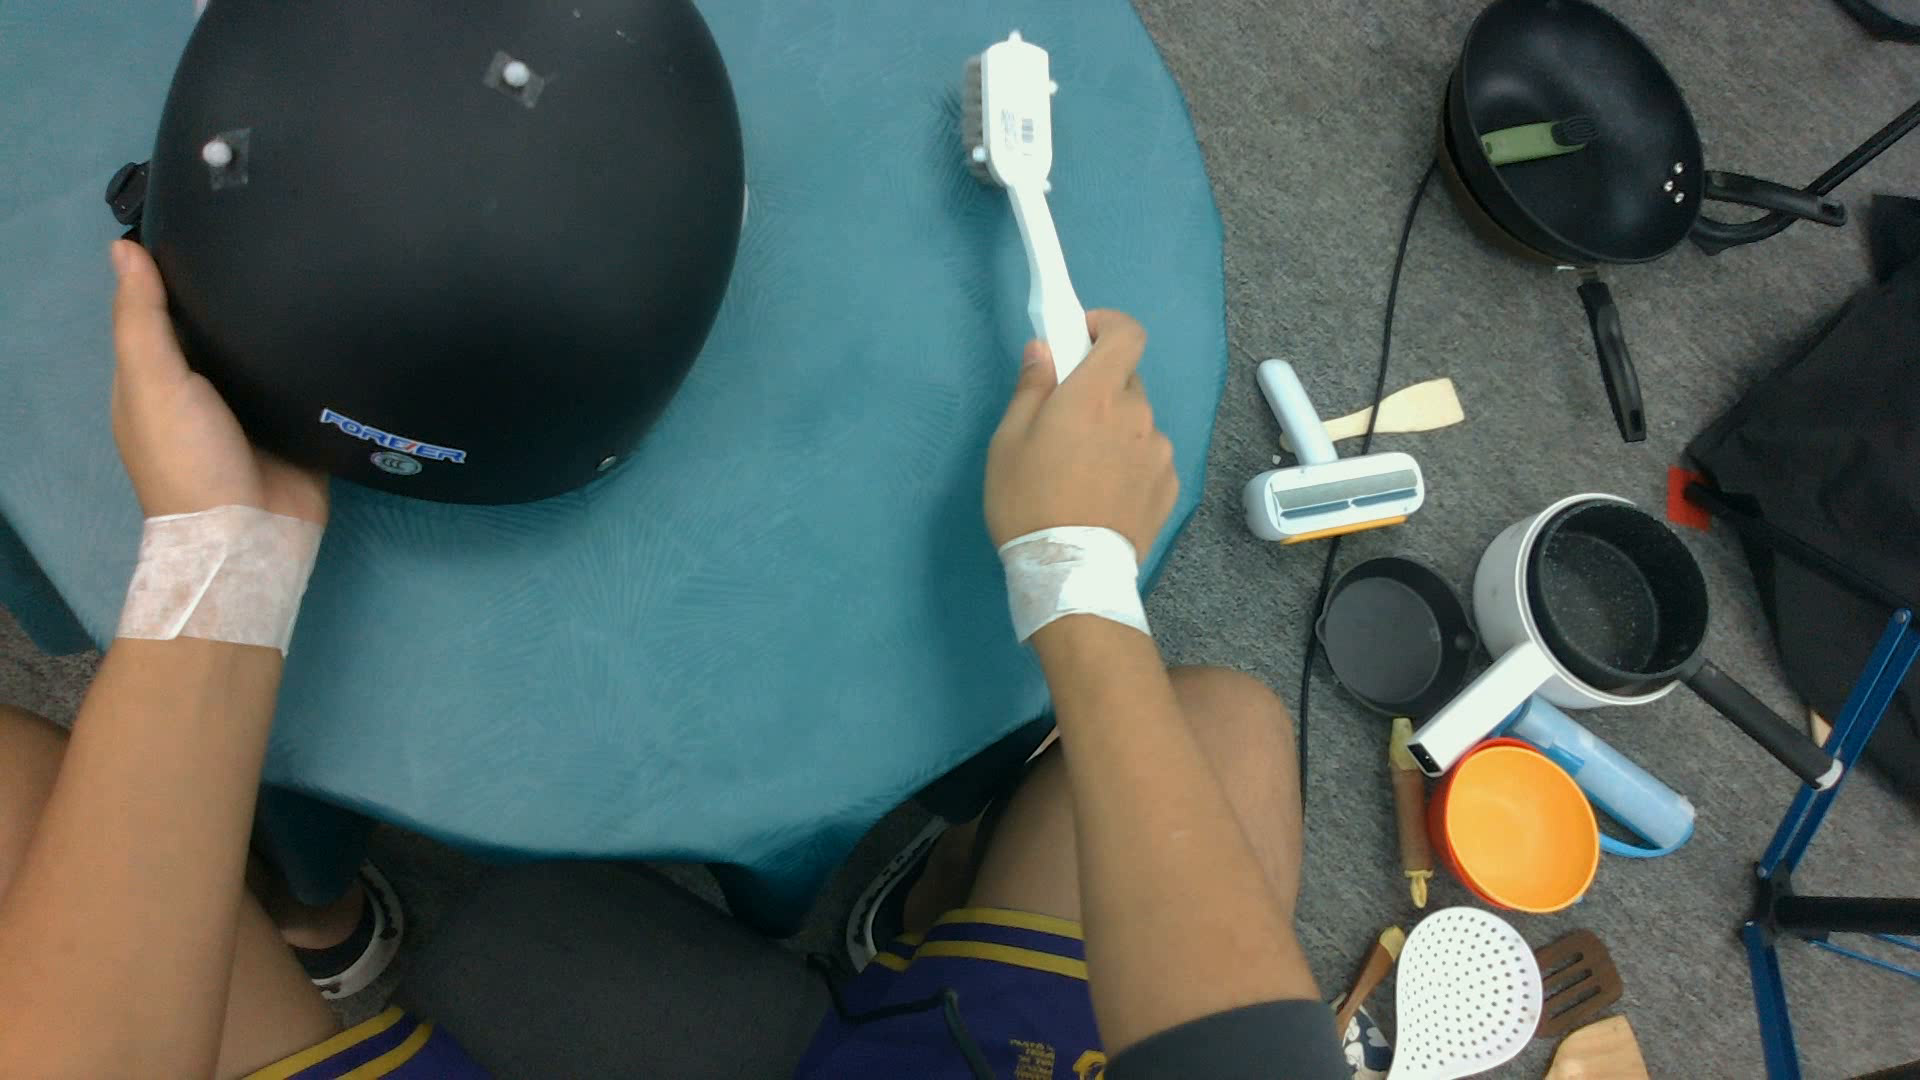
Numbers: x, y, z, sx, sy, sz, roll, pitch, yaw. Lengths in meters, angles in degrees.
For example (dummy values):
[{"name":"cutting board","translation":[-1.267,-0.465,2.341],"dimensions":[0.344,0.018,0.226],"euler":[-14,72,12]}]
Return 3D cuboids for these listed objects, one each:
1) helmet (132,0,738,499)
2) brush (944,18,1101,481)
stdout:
[{"name":"helmet","translation":[-0.195,-0.159,0.555],"dimensions":[0.230,0.166,0.274],"euler":[22,68,-25]},{"name":"brush","translation":[0.029,-0.142,0.673],"dimensions":[0.034,0.050,0.244],"euler":[-6,79,-22]}]
